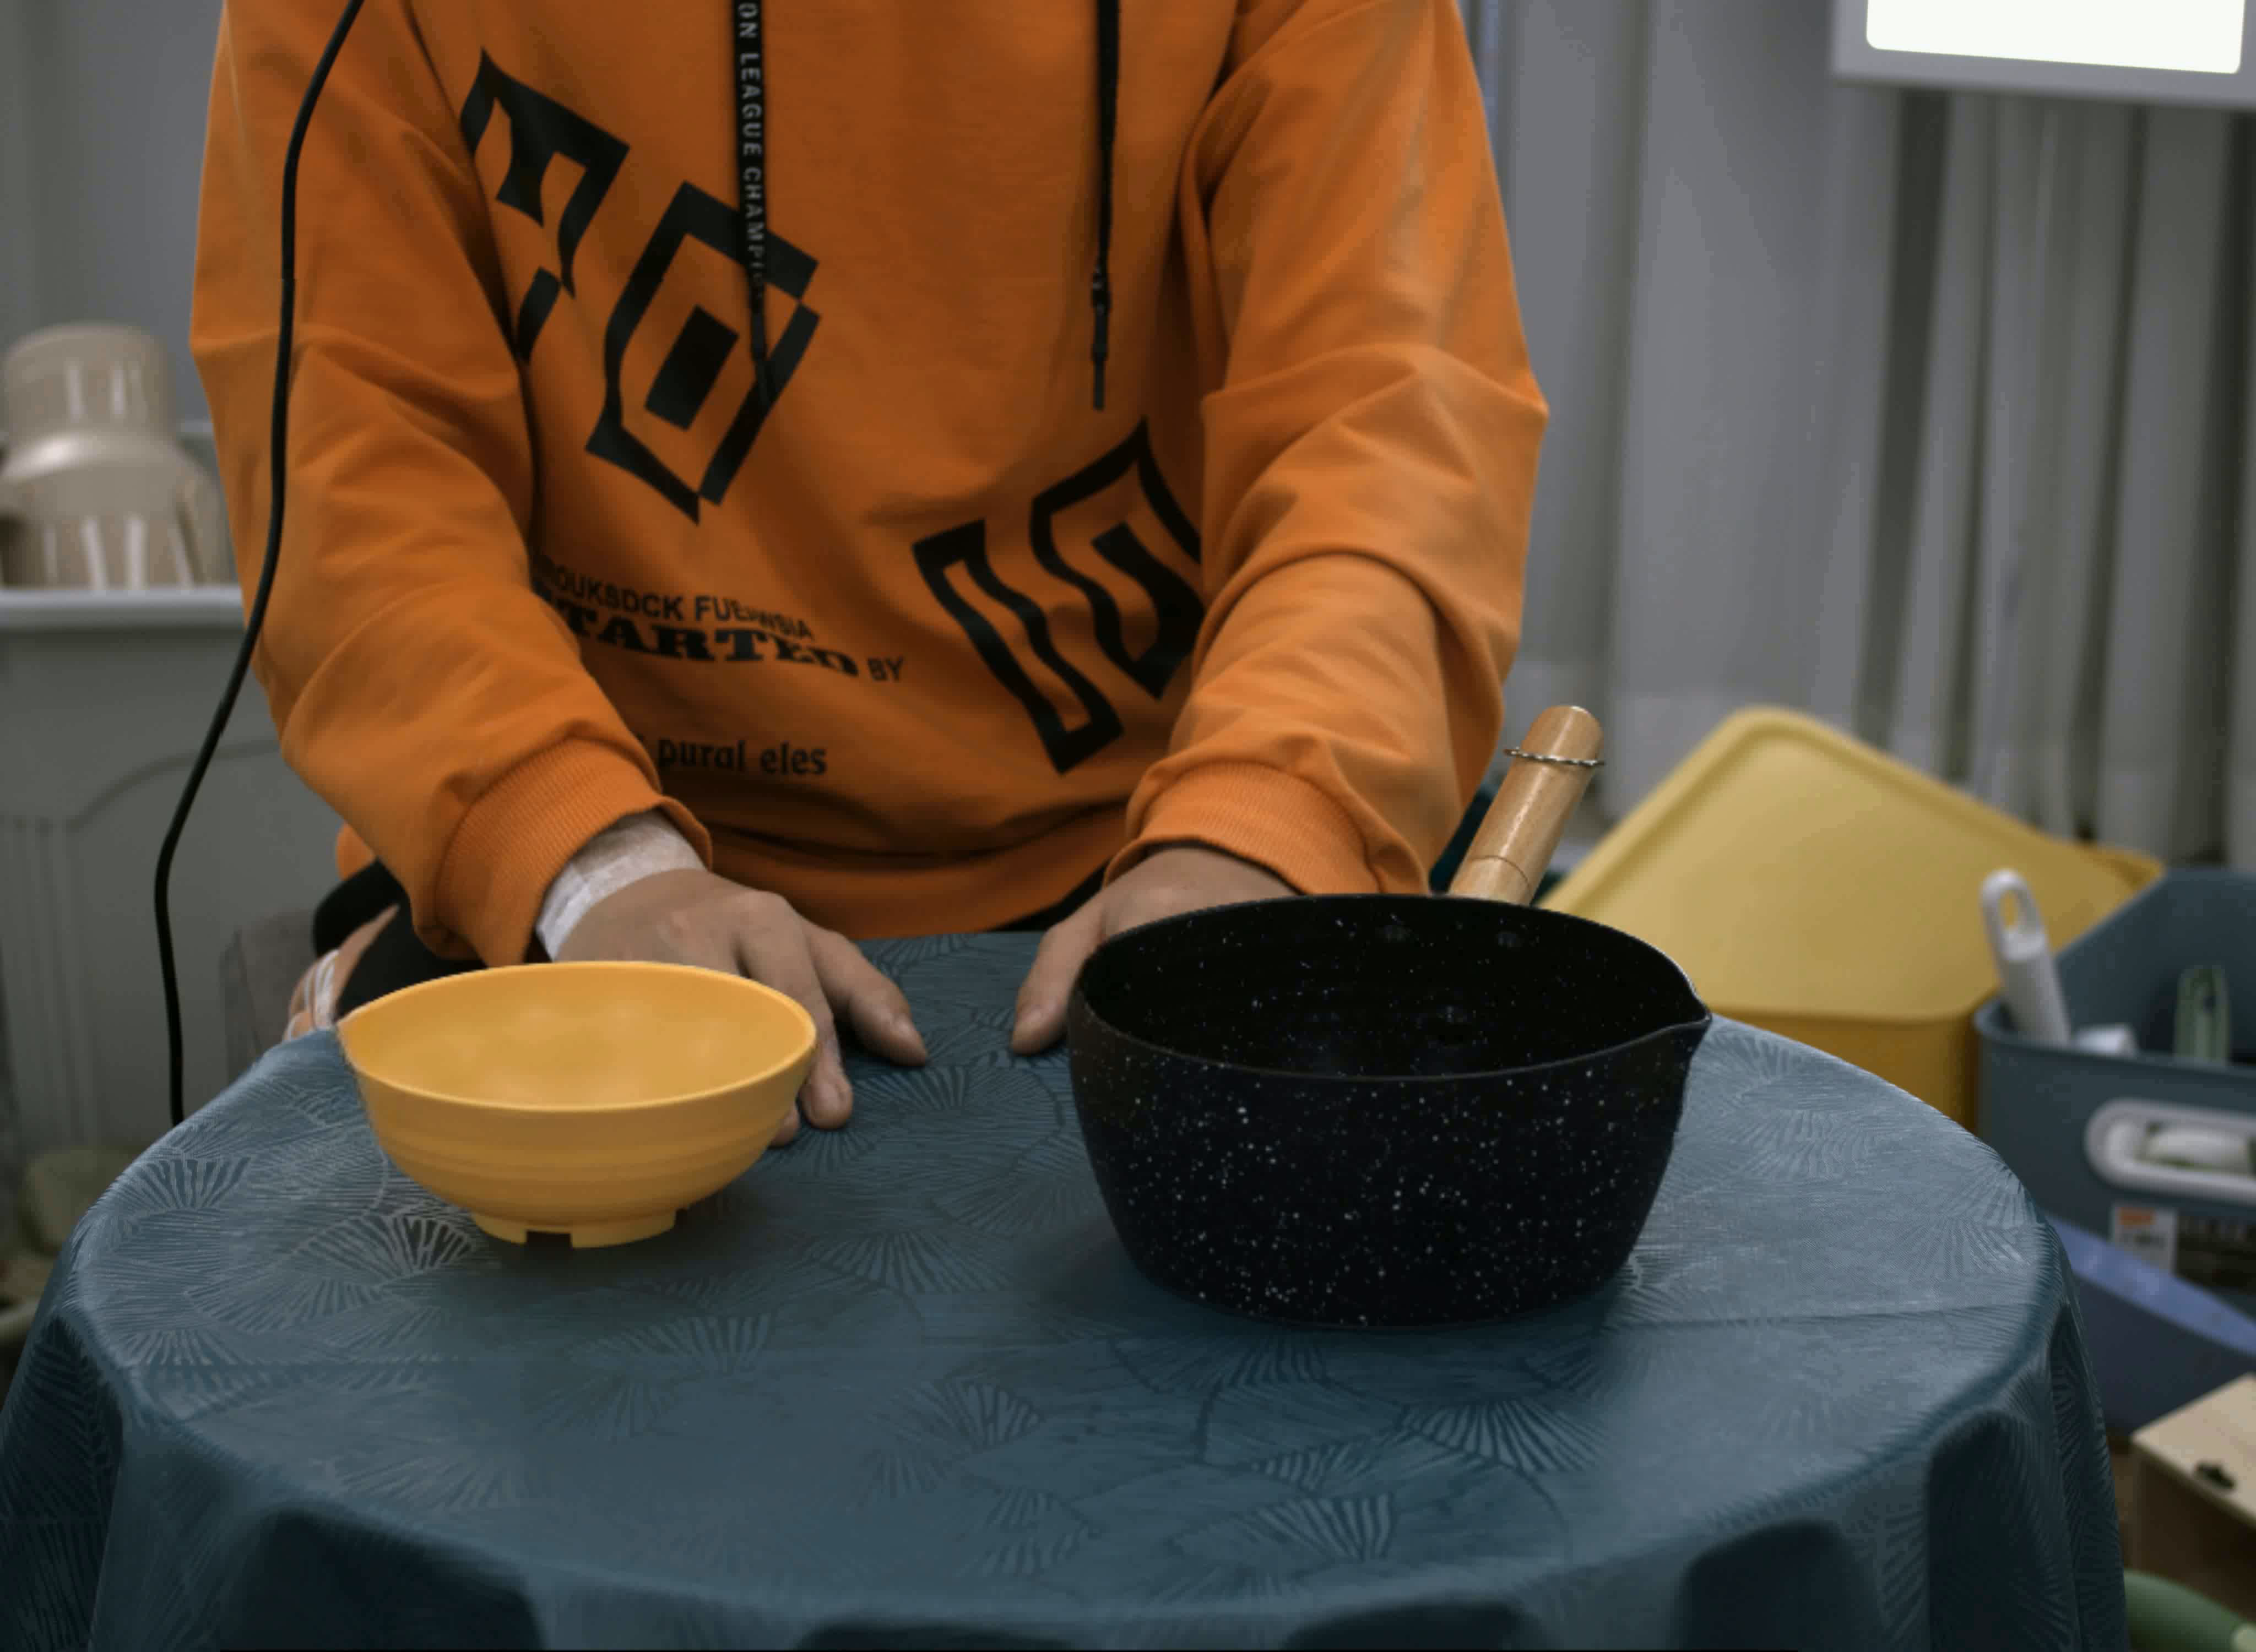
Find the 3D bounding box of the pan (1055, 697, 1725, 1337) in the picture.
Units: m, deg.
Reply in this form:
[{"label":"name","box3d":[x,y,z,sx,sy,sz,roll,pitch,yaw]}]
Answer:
[{"label":"pan","box3d":[0.097,0.054,1.634,0.206,0.109,0.342,4,17,16]}]

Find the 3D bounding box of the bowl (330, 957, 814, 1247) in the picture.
[{"label":"bowl","box3d":[-0.168,0.089,1.593,0.145,0.060,0.144,2,16,0]}]
